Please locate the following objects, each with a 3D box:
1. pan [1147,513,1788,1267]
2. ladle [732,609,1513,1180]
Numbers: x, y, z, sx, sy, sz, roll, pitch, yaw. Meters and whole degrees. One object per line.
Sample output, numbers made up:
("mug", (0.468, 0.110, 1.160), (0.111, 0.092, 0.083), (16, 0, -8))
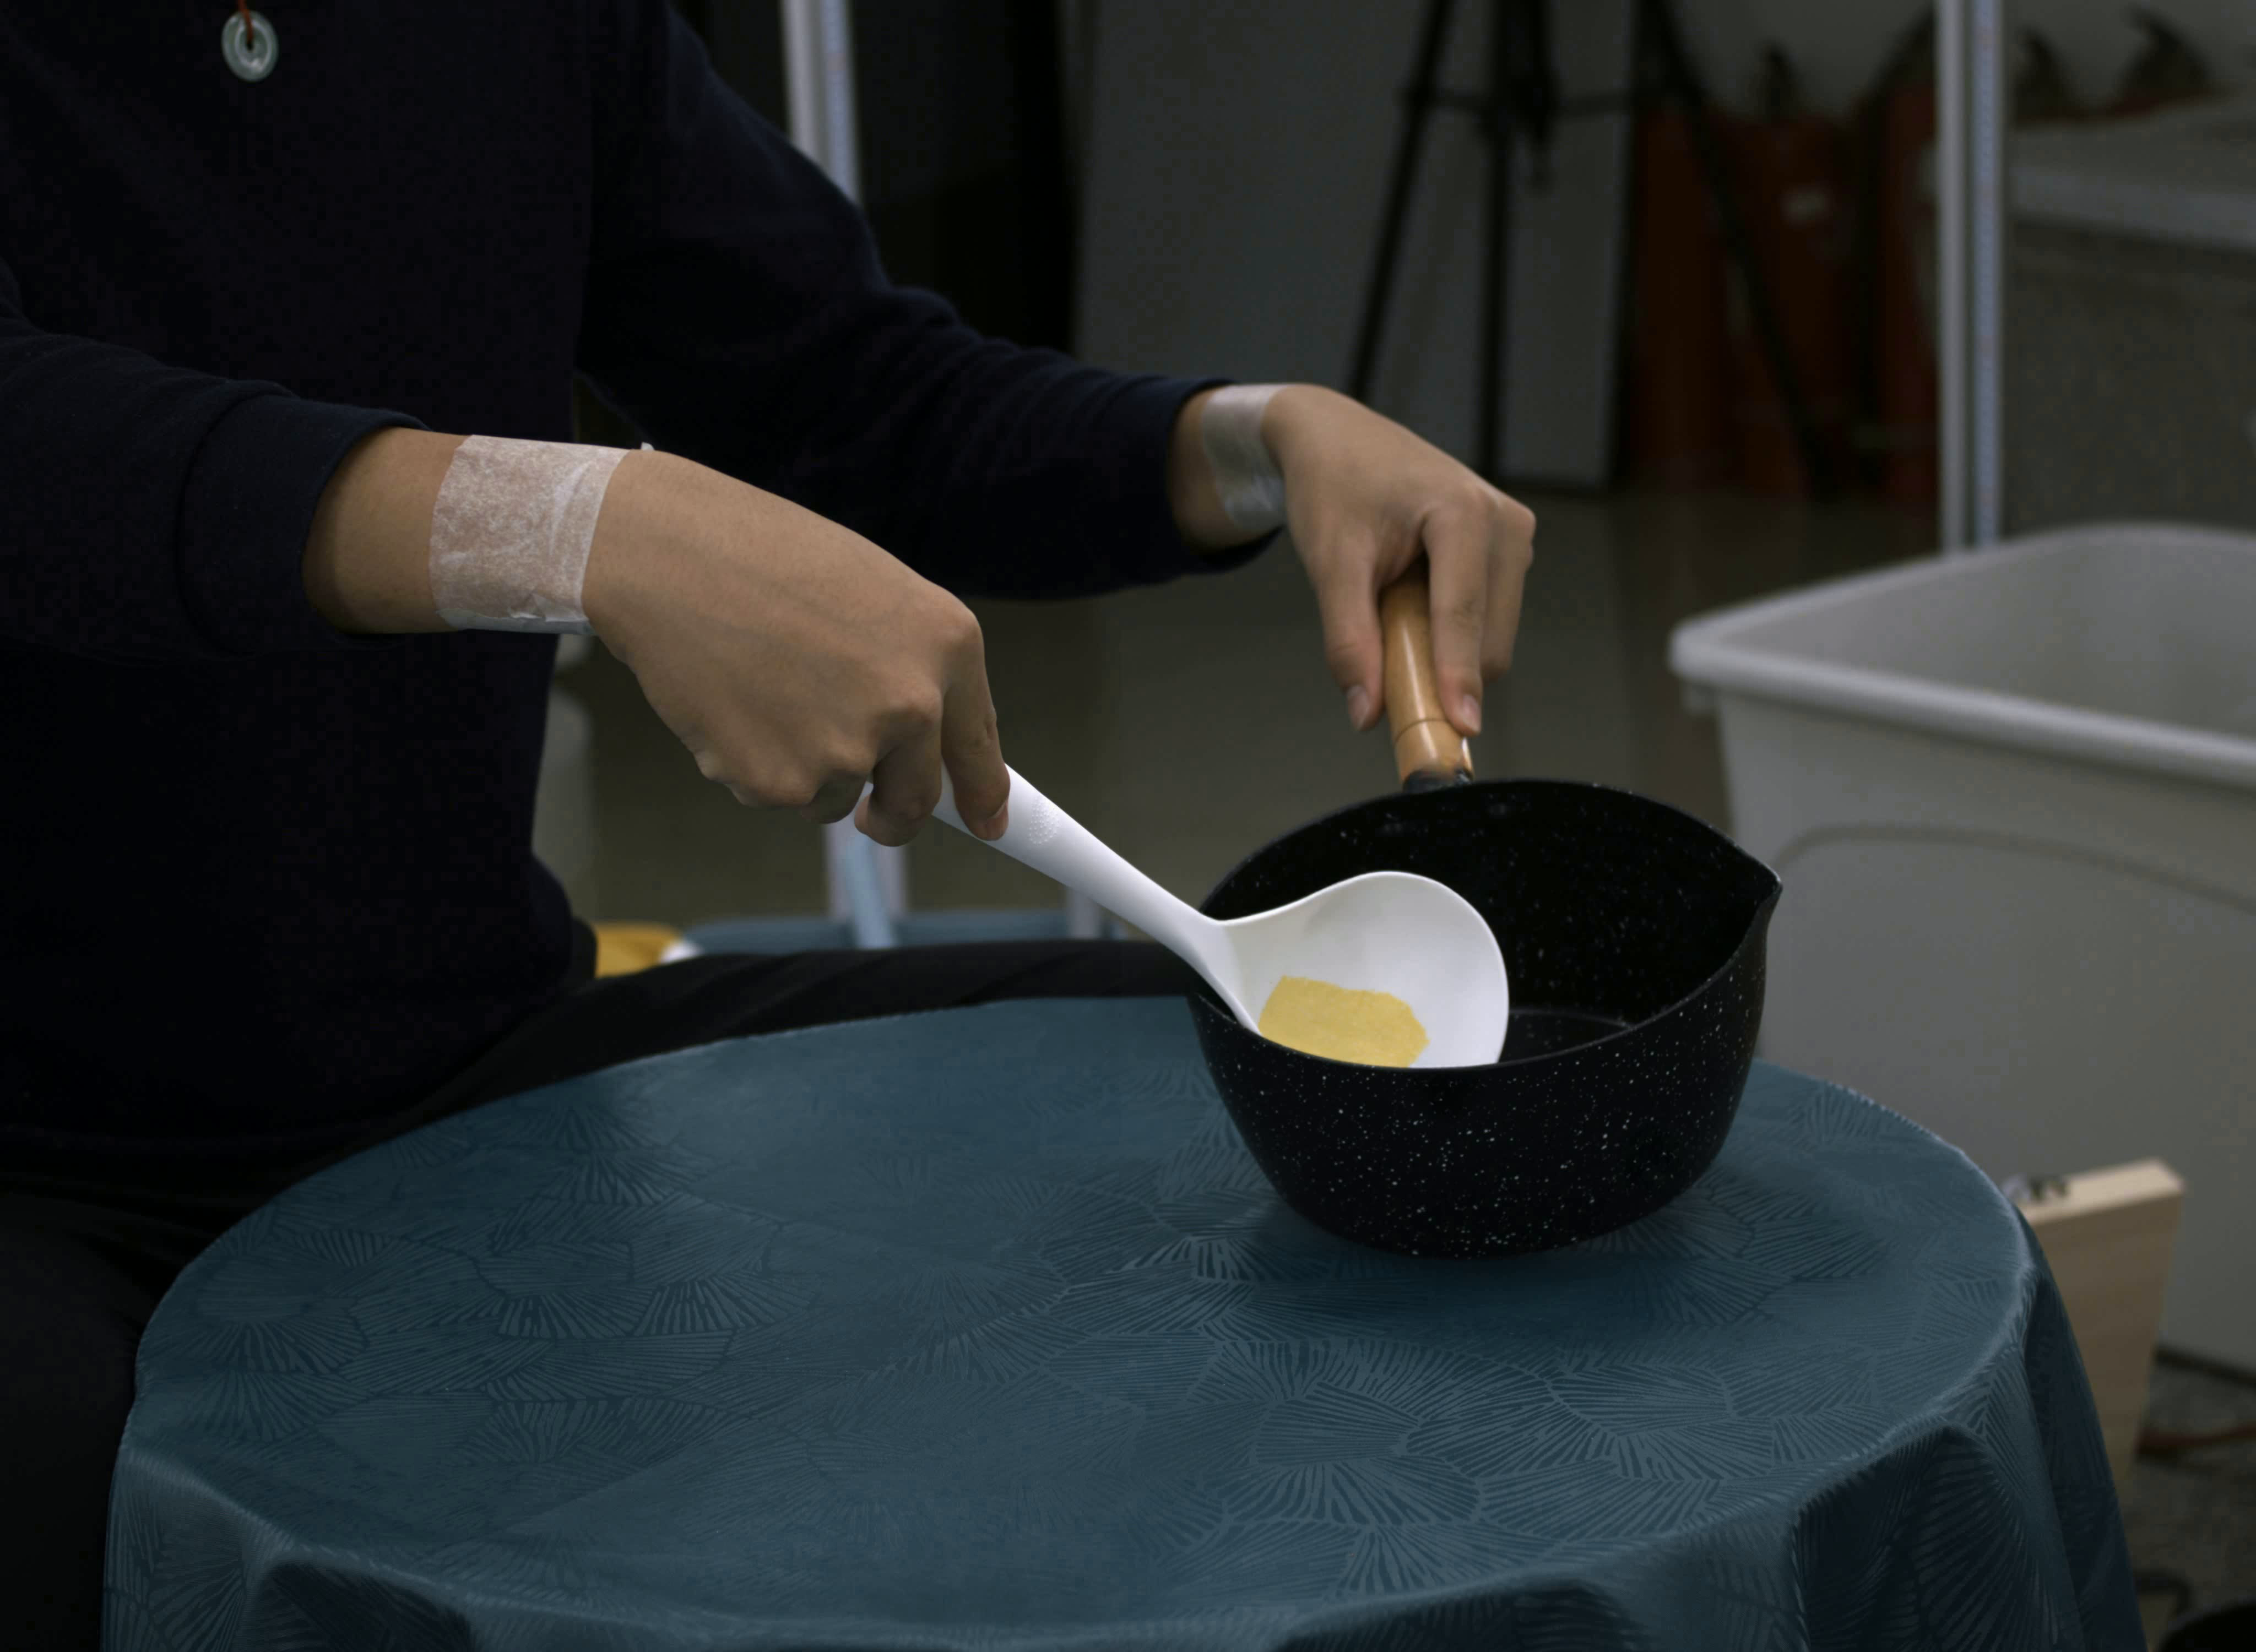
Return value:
("pan", (0.106, 0.017, 1.790), (0.205, 0.109, 0.345), (-10, 29, 1))
("ladle", (0.002, 0.015, 1.606), (0.070, 0.091, 0.288), (6, -21, 46))
